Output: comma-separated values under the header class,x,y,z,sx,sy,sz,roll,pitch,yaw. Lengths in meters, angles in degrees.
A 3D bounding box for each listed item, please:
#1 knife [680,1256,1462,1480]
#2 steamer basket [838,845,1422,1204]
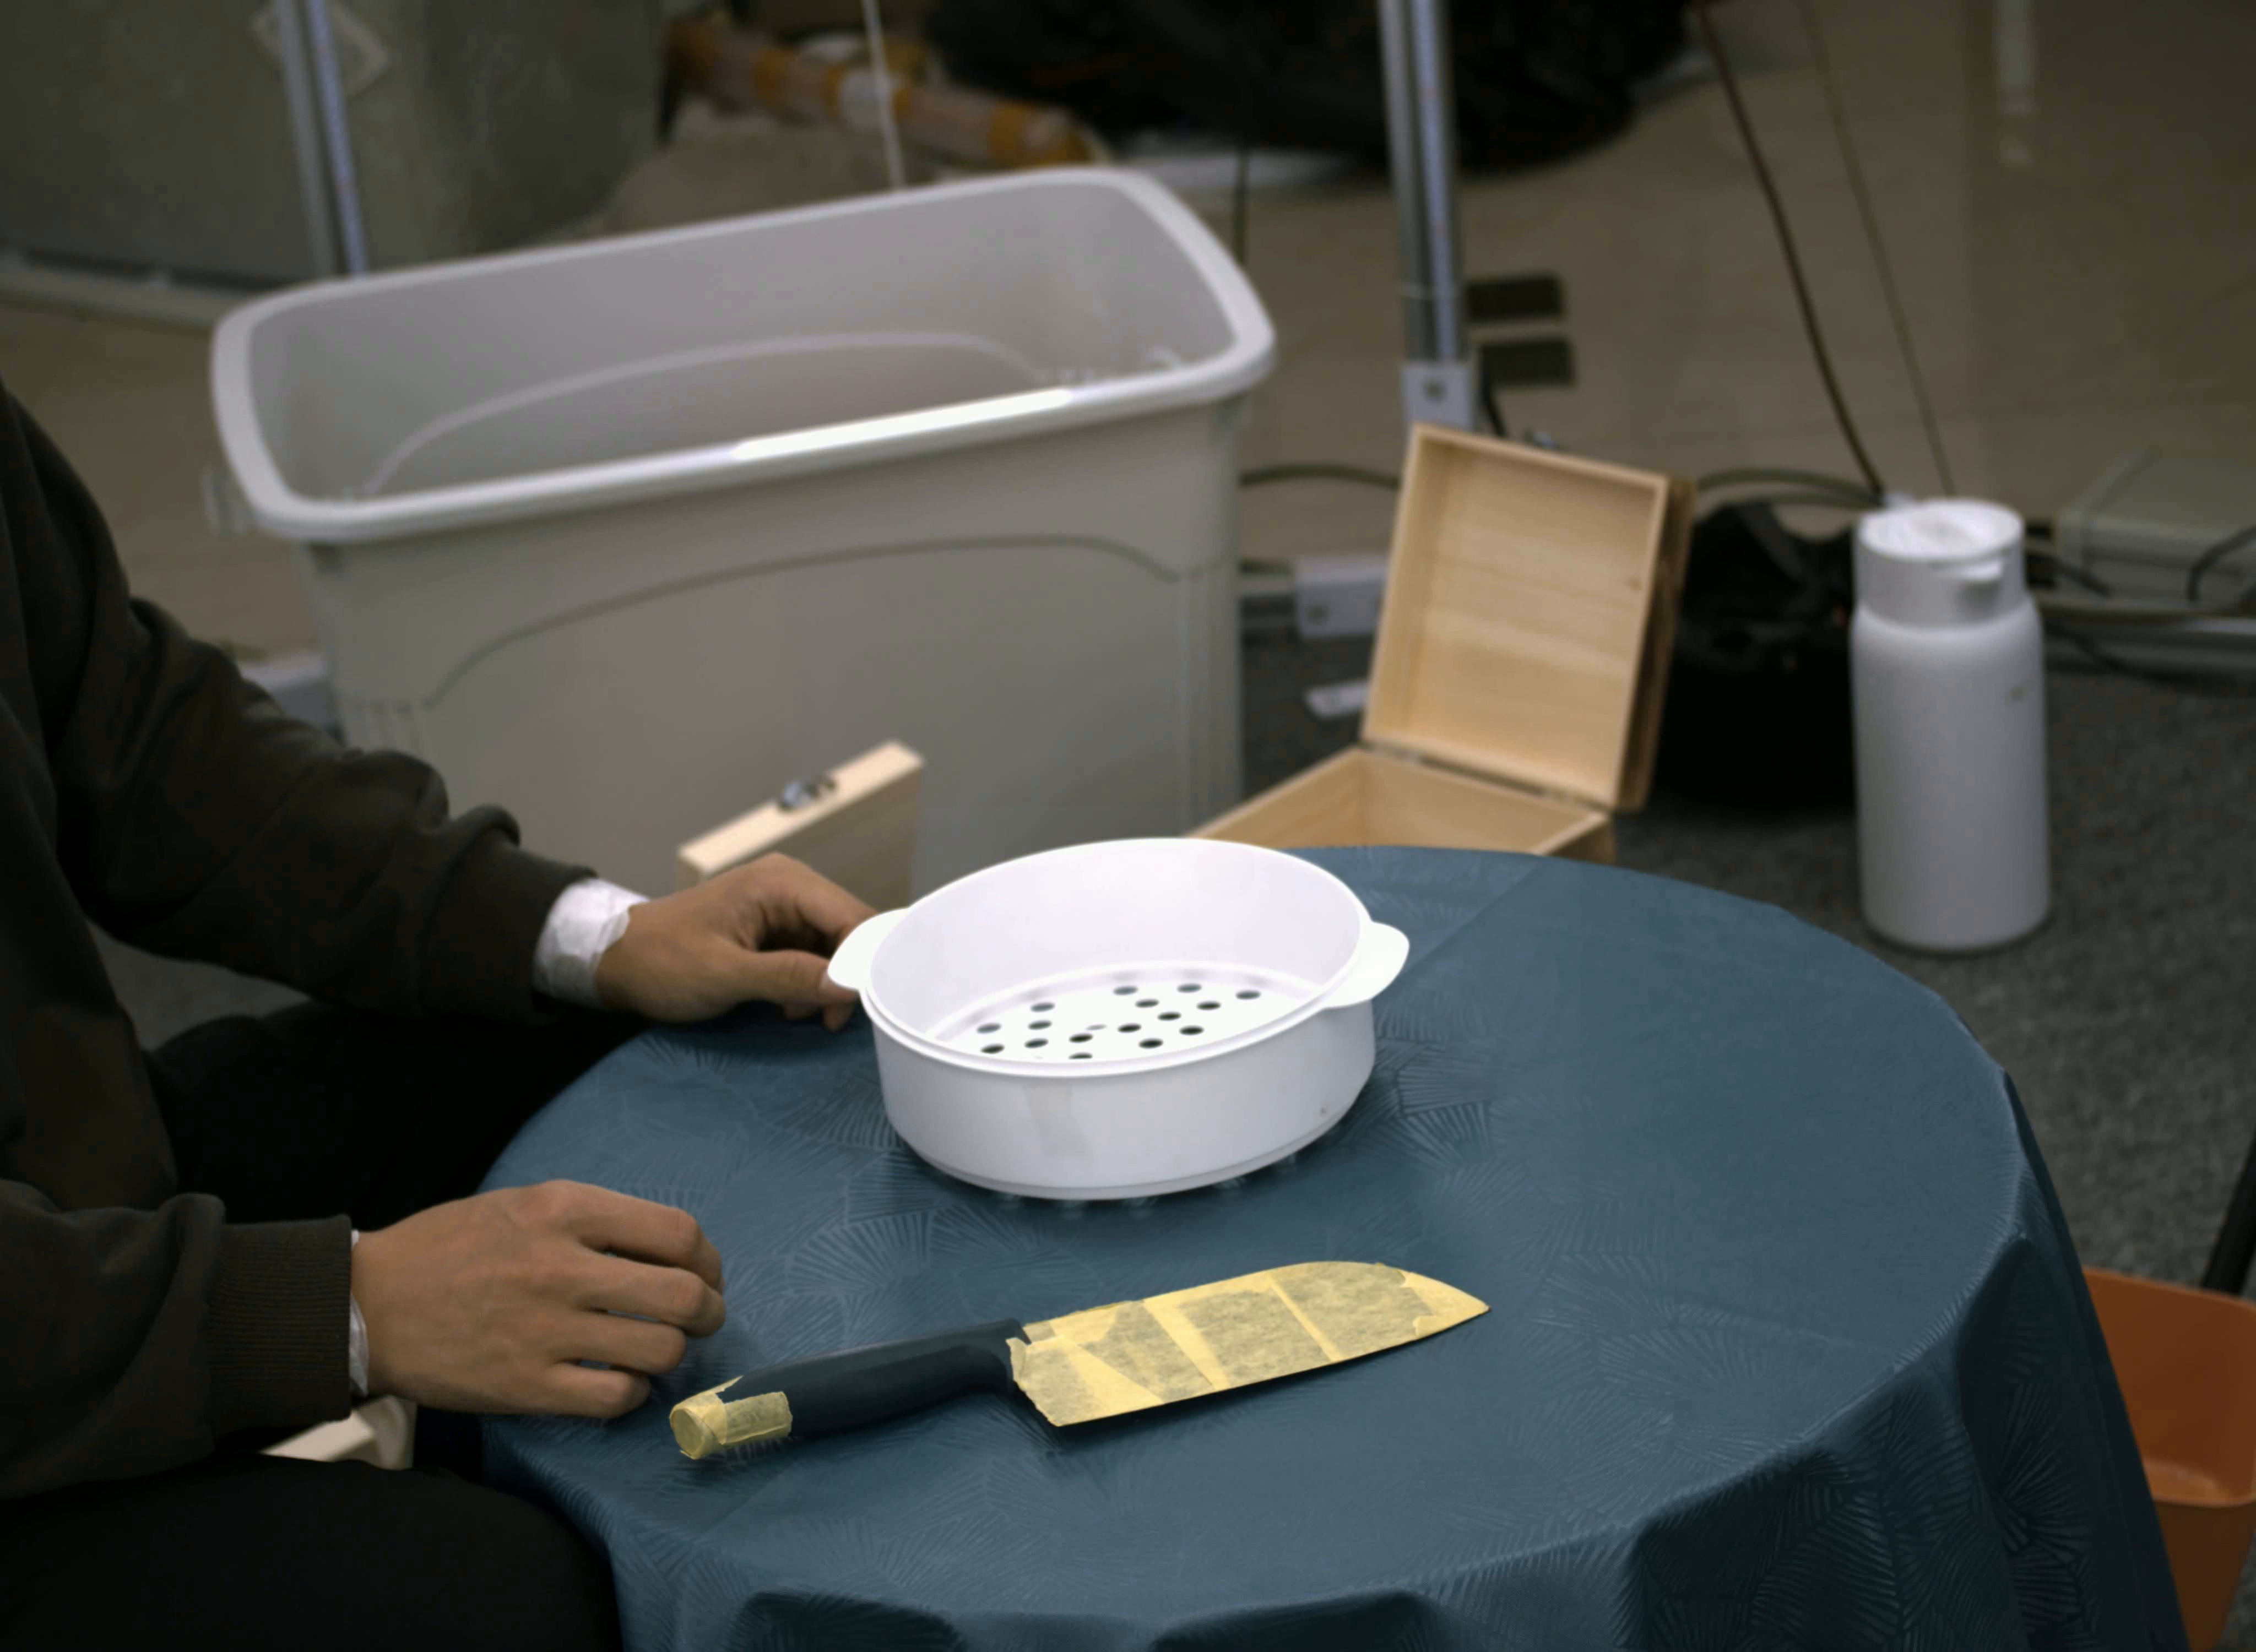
class,x,y,z,sx,sy,sz,roll,pitch,yaw
knife,-0.017,0.193,2.021,0.288,0.027,0.080,-12,24,-14
steamer basket,0.003,0.077,2.205,0.230,0.070,0.199,1,25,18
